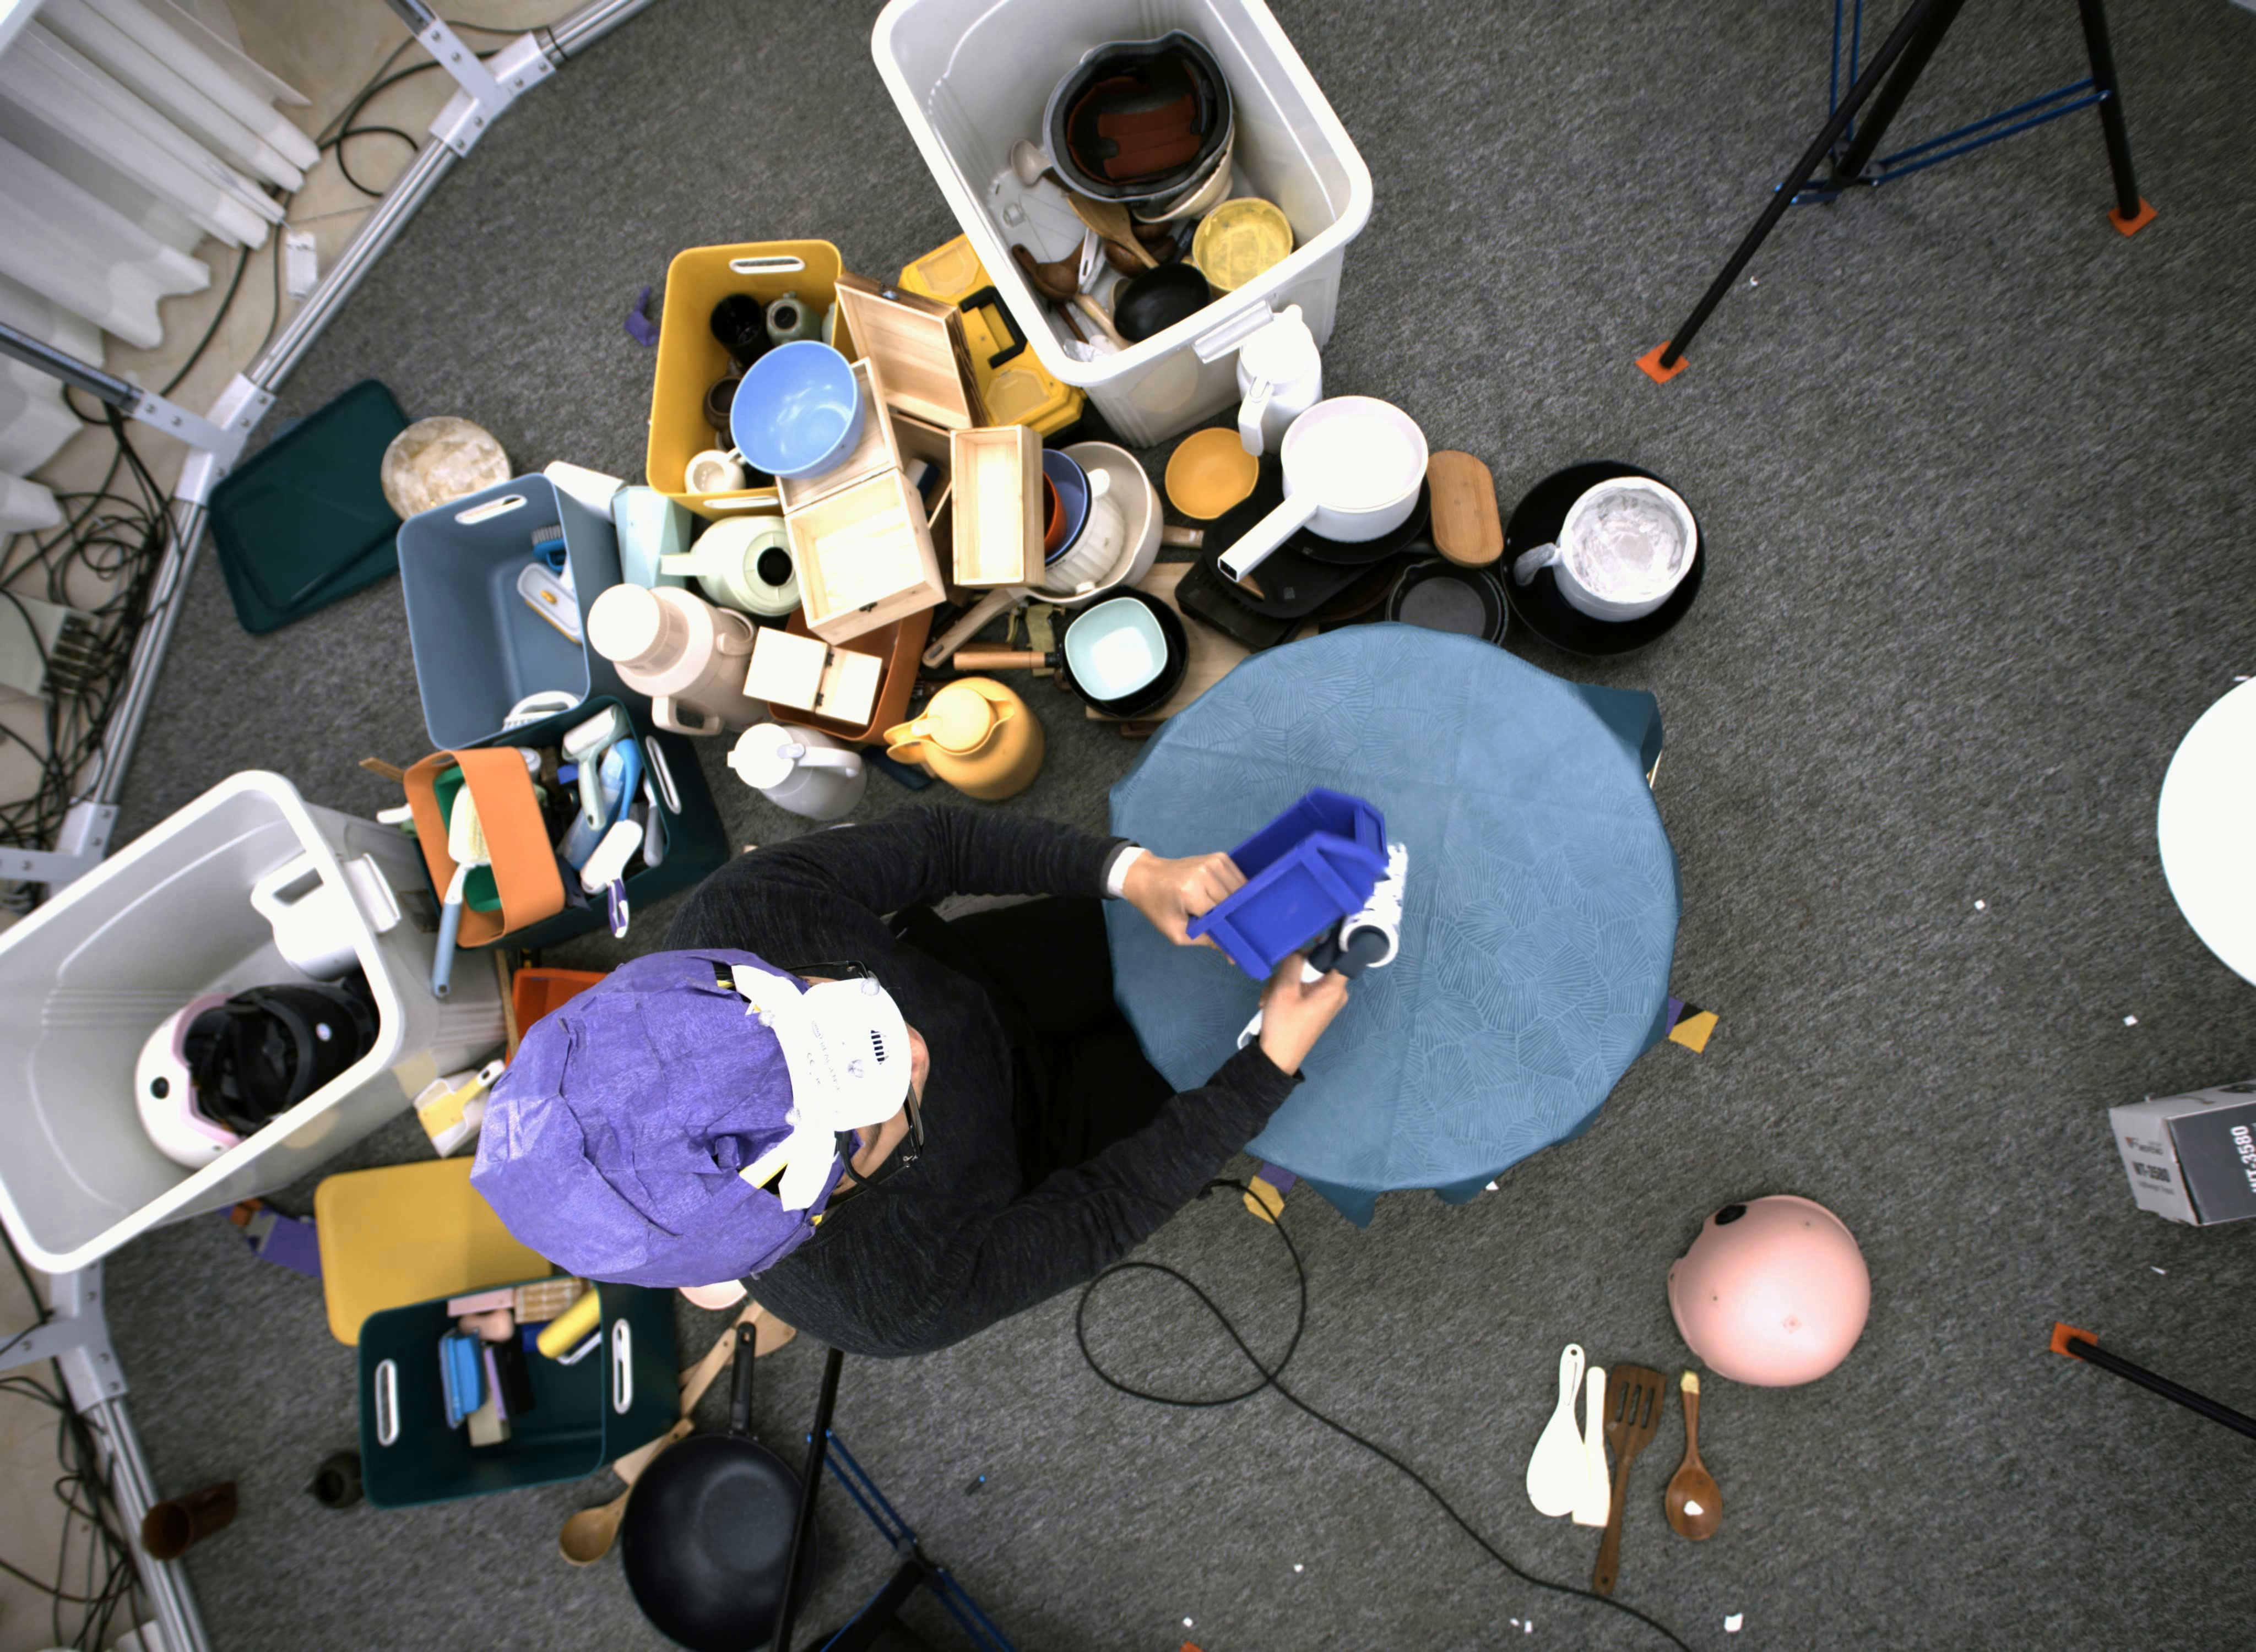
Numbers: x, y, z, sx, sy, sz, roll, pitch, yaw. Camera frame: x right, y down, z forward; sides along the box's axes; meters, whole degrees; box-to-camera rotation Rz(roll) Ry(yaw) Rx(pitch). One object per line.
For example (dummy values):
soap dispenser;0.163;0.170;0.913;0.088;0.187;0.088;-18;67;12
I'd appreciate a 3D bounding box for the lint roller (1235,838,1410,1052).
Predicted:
lint roller;0.184;0.136;1.321;0.050;0.172;0.253;31;124;-4

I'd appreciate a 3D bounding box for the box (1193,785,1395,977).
box;0.157;0.045;1.262;0.182;0.122;0.082;-39;103;23
